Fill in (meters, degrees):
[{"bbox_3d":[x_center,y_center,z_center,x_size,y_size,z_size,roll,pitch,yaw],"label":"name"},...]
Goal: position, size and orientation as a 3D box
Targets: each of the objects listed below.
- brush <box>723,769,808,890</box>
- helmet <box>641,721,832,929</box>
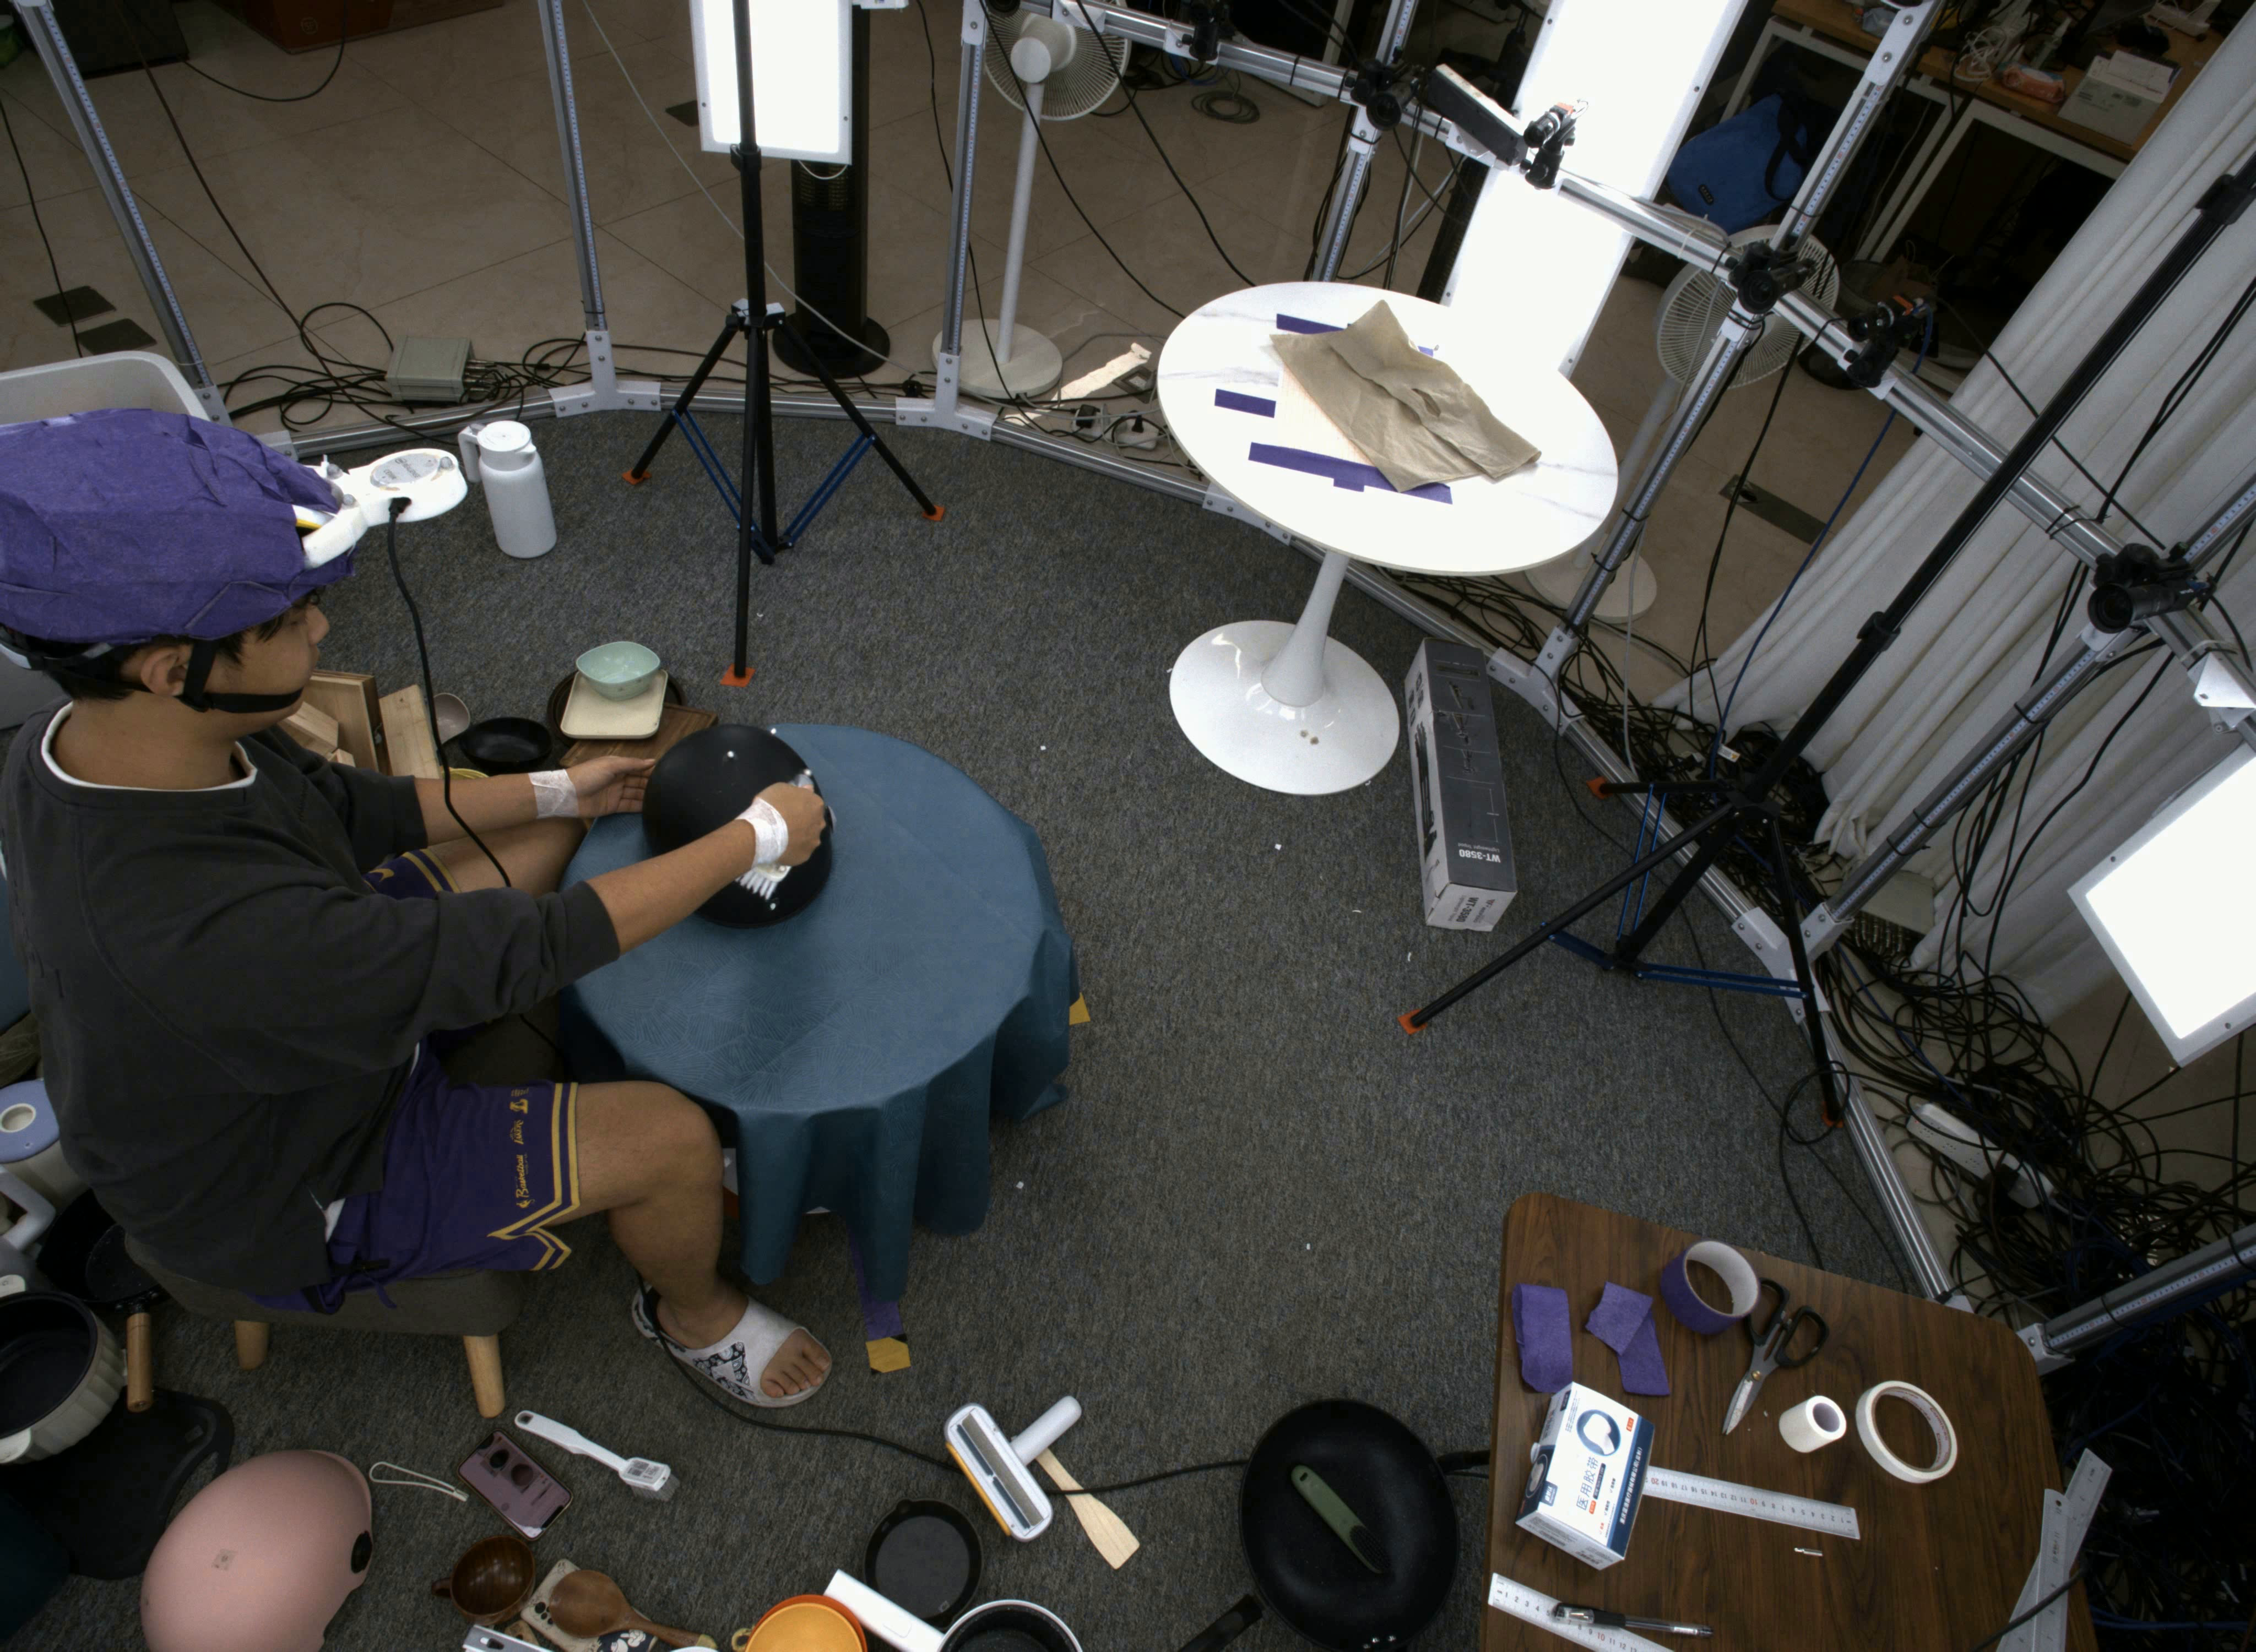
[{"bbox_3d":[-0.405,-0.018,1.497,0.063,0.094,0.172,34,33,-18],"label":"brush"},{"bbox_3d":[-0.496,-0.024,1.626,0.231,0.170,0.267,-21,63,-26],"label":"helmet"}]
